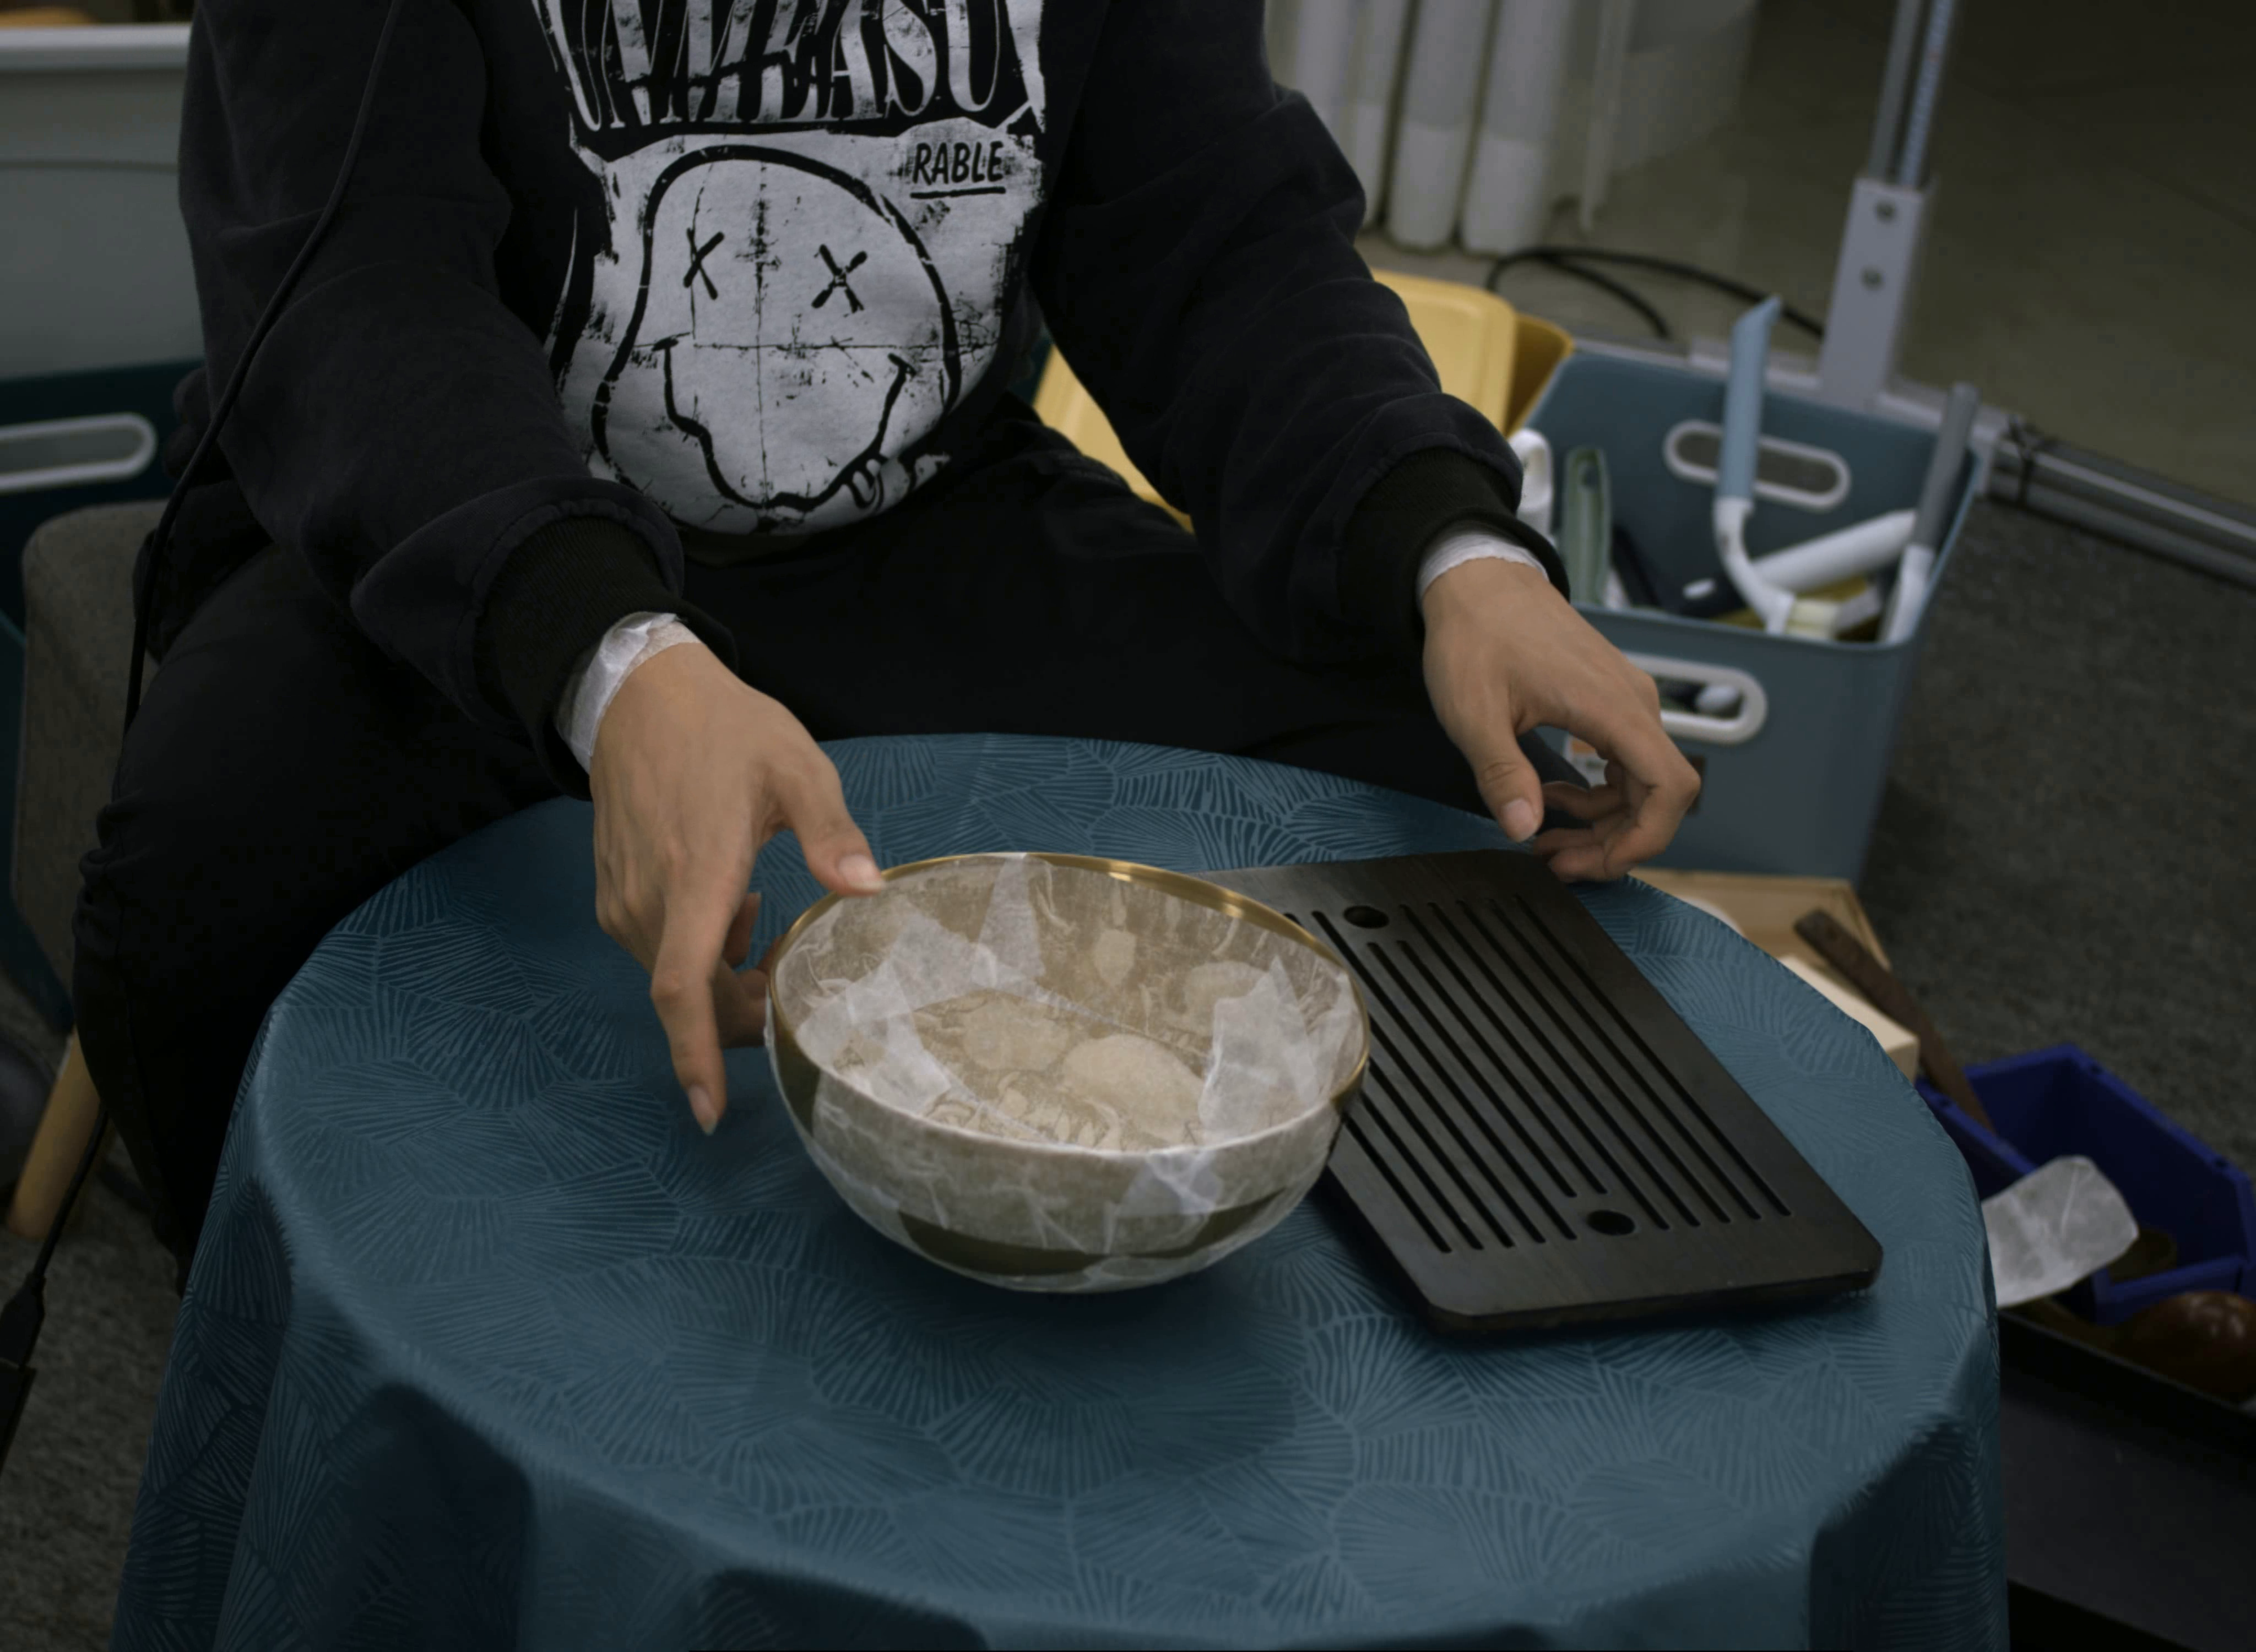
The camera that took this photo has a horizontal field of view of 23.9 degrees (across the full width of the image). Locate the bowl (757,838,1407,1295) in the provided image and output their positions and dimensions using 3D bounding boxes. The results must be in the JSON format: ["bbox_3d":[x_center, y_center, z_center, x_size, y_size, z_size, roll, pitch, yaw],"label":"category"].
[{"bbox_3d":[-0.021,0.092,1.756,0.214,0.094,0.216,4,27,-2],"label":"bowl"}]

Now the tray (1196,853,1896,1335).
[{"bbox_3d":[0.130,0.091,1.875,0.169,0.018,0.308,-4,28,-20],"label":"tray"}]
